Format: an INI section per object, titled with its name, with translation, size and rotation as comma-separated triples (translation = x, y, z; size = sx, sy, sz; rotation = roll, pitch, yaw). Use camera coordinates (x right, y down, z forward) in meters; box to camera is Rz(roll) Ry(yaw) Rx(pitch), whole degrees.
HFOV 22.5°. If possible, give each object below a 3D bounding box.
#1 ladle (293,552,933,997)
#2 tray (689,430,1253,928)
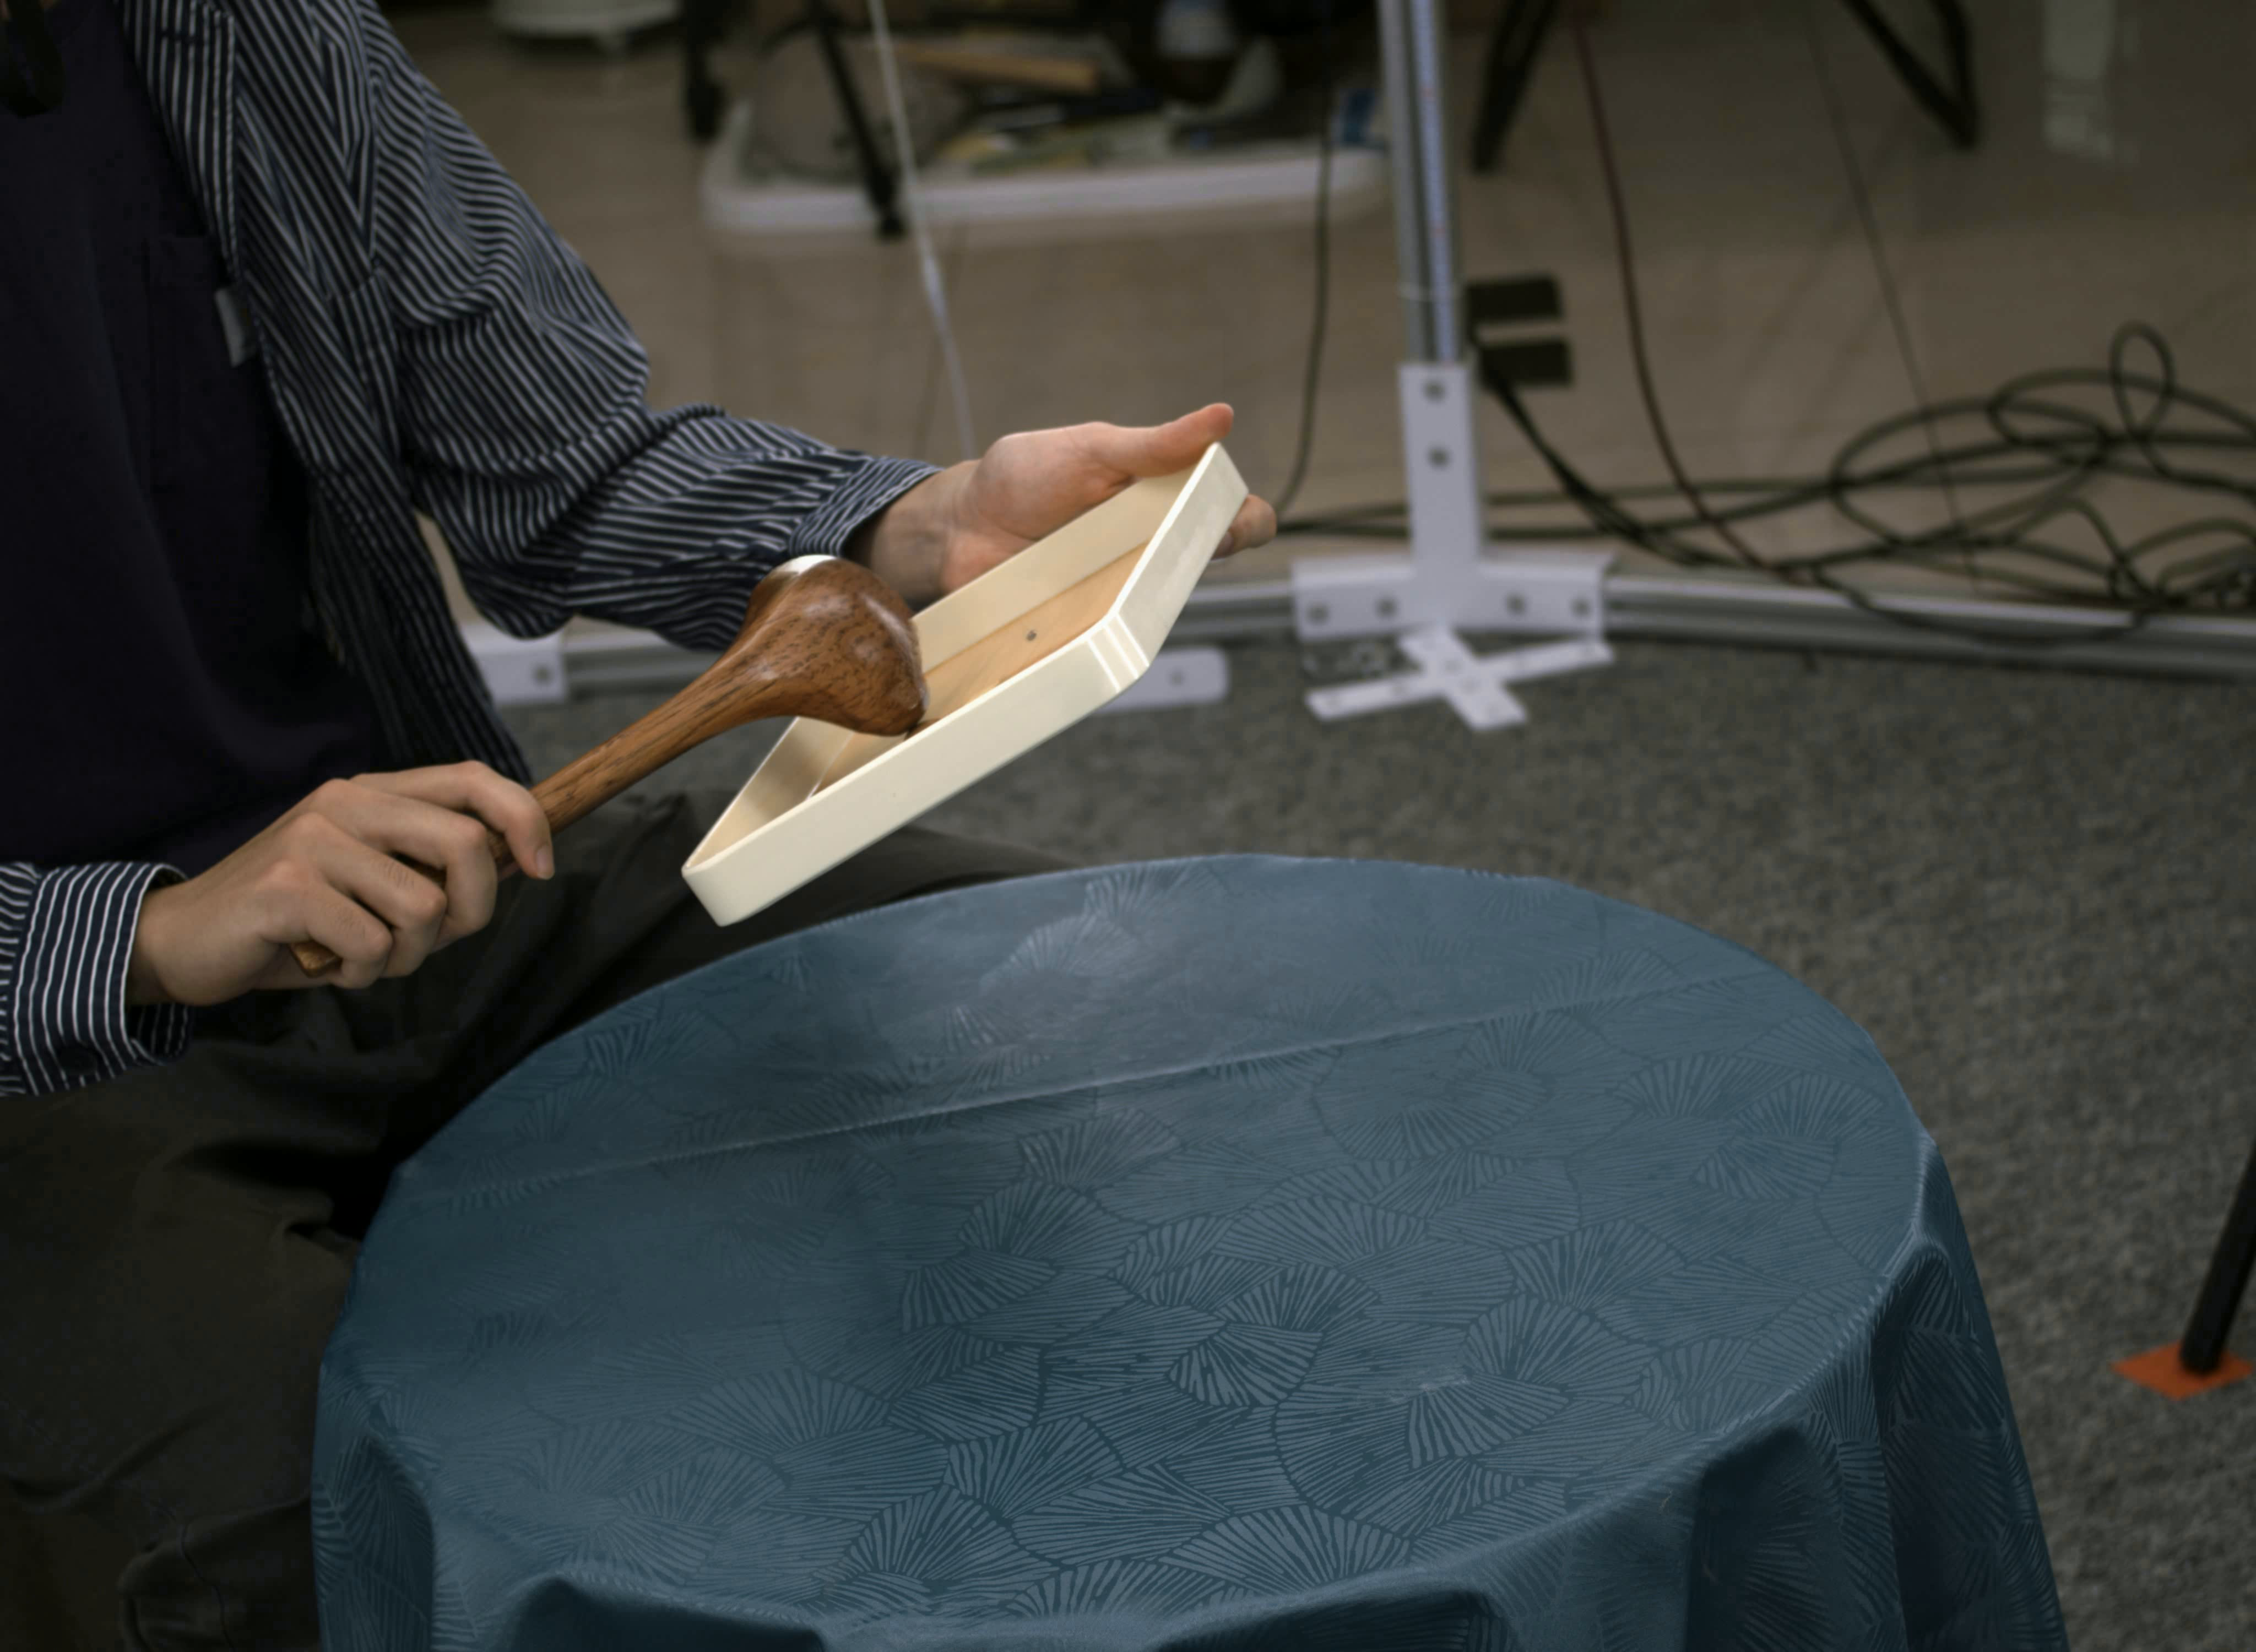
[ladle]
translation = -0.195, -0.013, 2.138
size = 0.273, 0.077, 0.081
rotation = -35, 72, -10
[tray]
translation = -0.054, -0.060, 2.144
size = 0.192, 0.027, 0.297
rotation = -31, 10, 18
